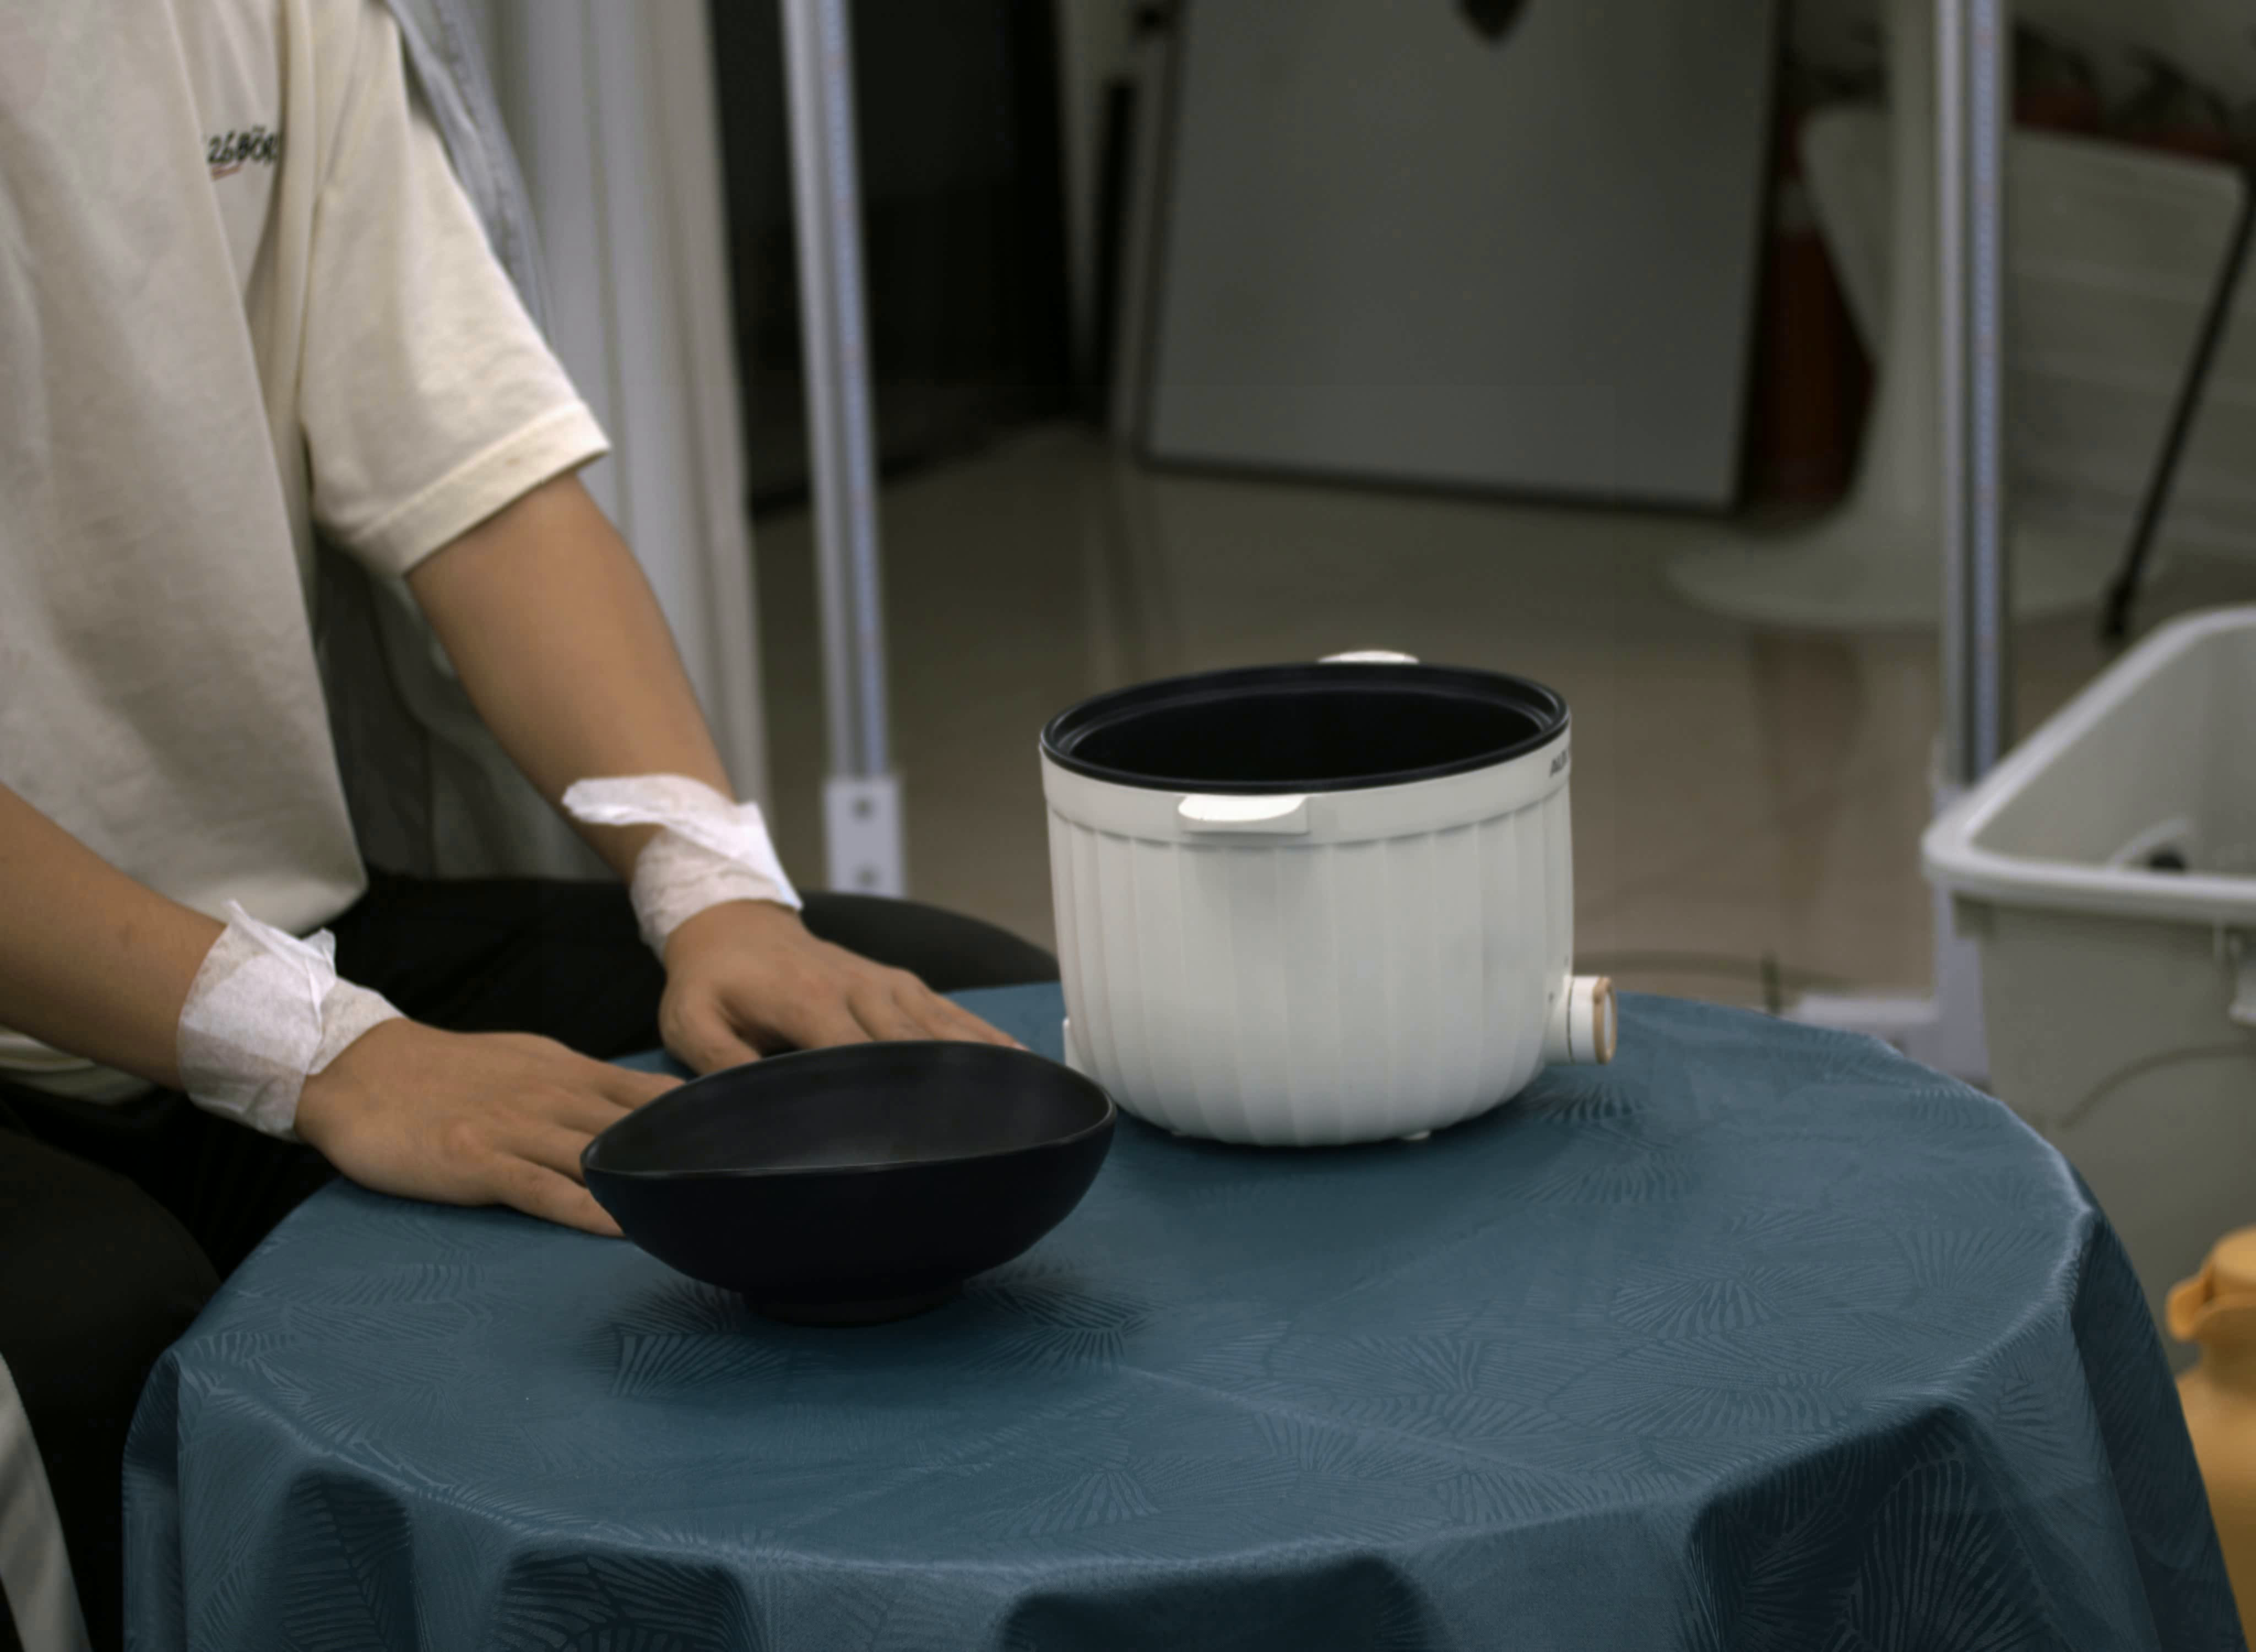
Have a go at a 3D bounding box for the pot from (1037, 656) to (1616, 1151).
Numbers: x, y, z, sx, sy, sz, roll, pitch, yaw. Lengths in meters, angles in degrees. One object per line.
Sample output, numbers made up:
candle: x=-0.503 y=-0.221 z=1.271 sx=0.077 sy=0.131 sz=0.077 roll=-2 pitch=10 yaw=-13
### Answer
pot: x=0.069 y=0.028 z=1.843 sx=0.190 sy=0.144 sz=0.239 roll=-4 pitch=14 yaw=15

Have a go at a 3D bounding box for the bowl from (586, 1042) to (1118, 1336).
bowl: x=-0.085 y=0.118 z=1.681 sx=0.168 sy=0.067 sz=0.137 roll=-4 pitch=12 yaw=5
